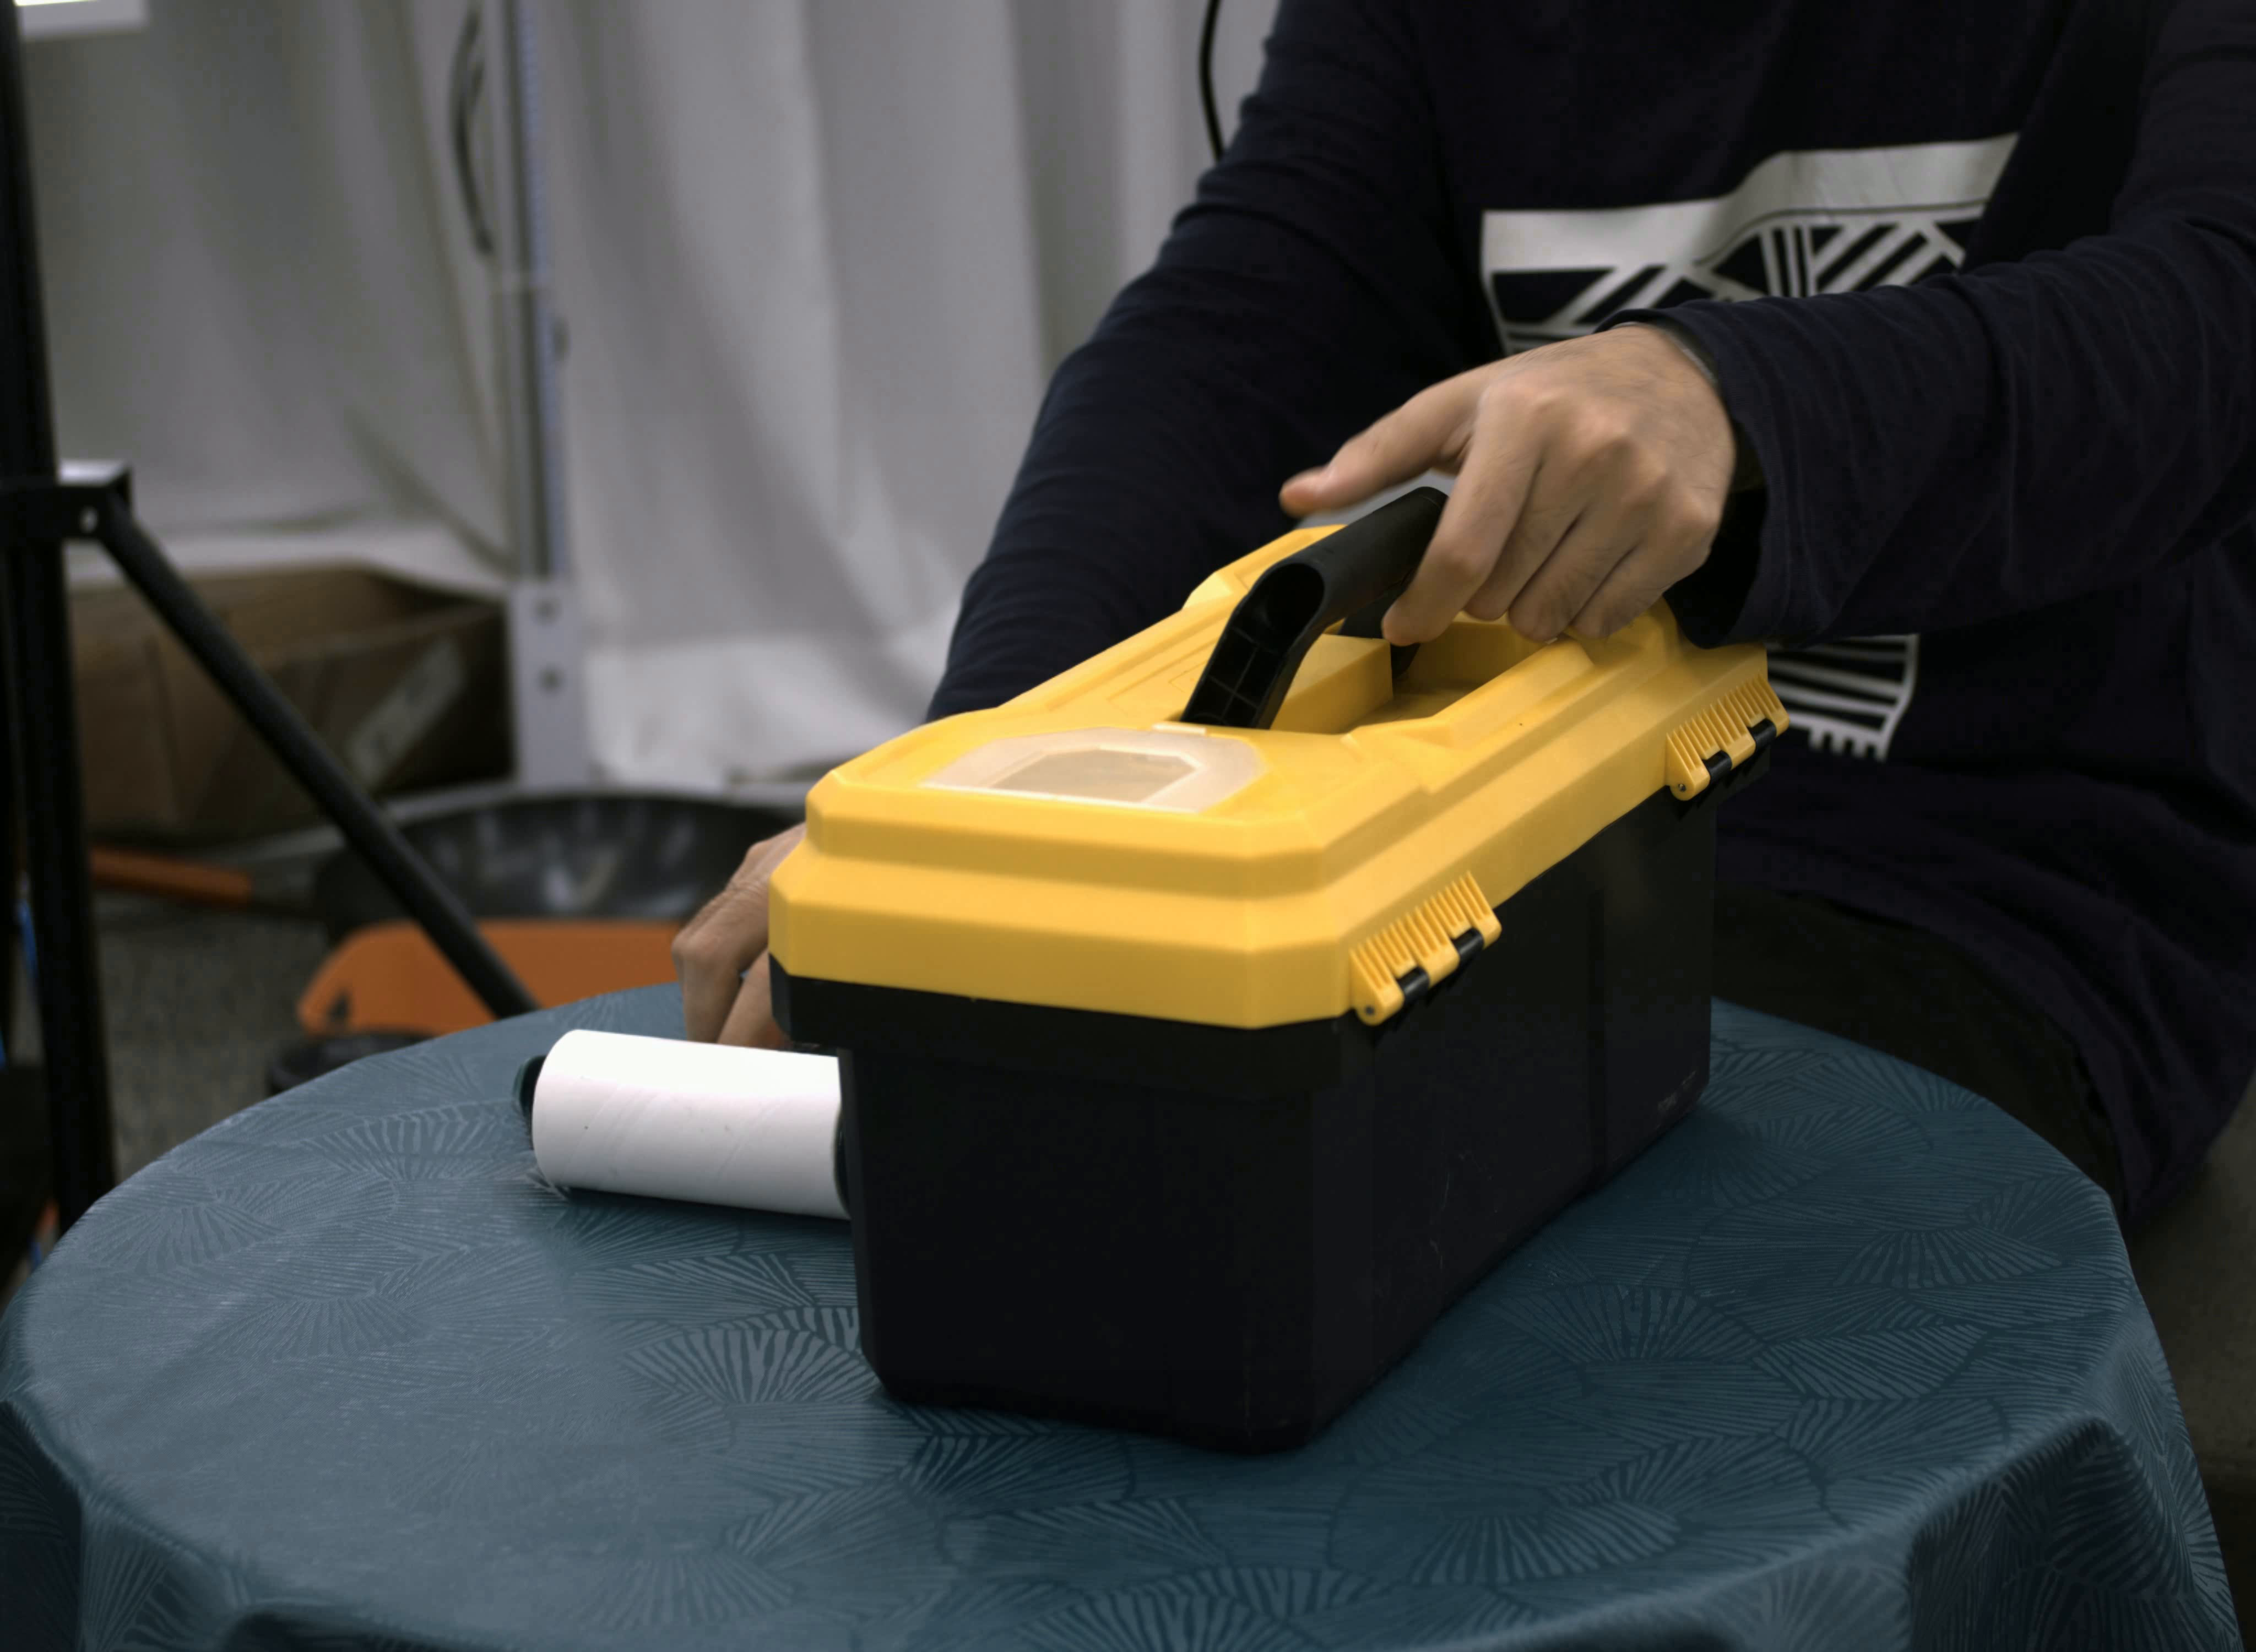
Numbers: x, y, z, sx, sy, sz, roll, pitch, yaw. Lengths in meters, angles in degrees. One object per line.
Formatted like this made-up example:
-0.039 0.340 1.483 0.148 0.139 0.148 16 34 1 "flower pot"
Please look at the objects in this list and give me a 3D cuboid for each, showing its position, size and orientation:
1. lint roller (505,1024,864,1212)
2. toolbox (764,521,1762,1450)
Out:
-0.096 0.073 1.626 0.136 0.048 0.177 4 13 23 "lint roller"
0.048 0.035 1.495 0.184 0.173 0.346 6 17 26 "toolbox"
